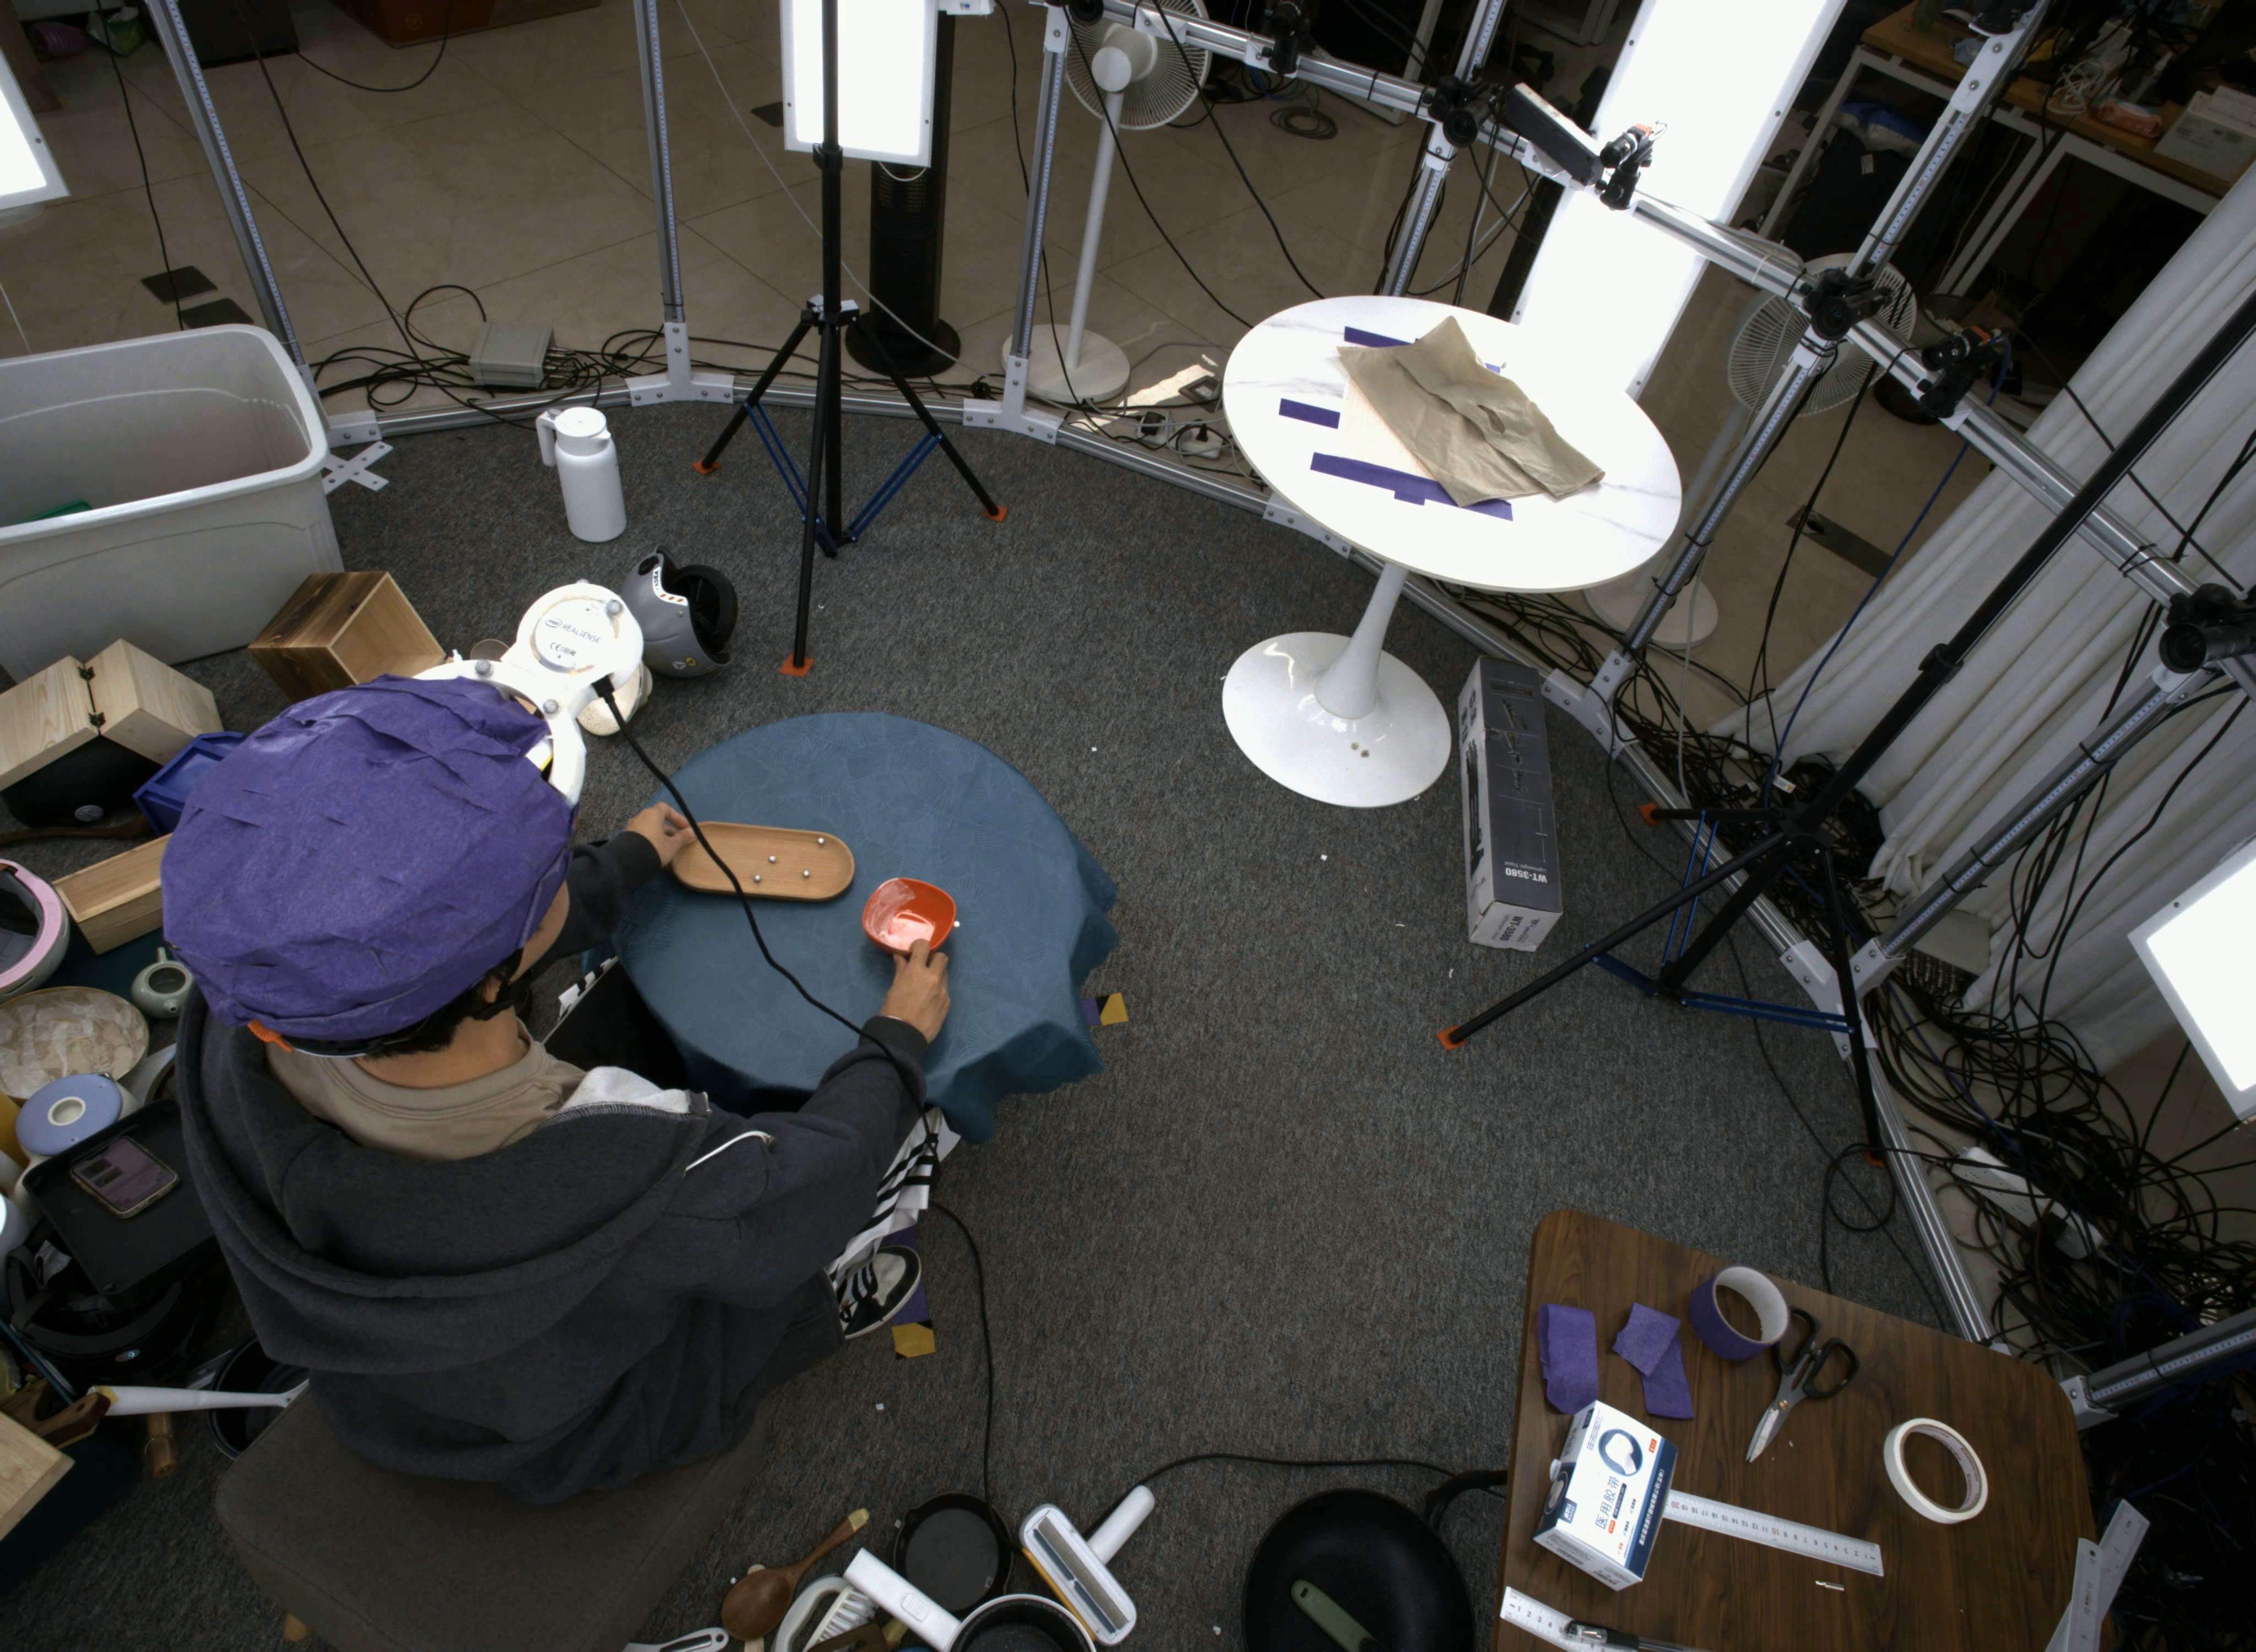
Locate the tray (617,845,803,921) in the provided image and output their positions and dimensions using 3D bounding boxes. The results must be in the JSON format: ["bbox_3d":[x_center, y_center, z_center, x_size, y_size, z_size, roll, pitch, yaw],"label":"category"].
[{"bbox_3d":[-0.527,0.071,1.627,0.232,0.020,0.100,1,60,-17],"label":"tray"}]

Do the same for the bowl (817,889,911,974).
[{"bbox_3d":[-0.328,0.137,1.613,0.119,0.052,0.116,9,48,-9],"label":"bowl"}]
